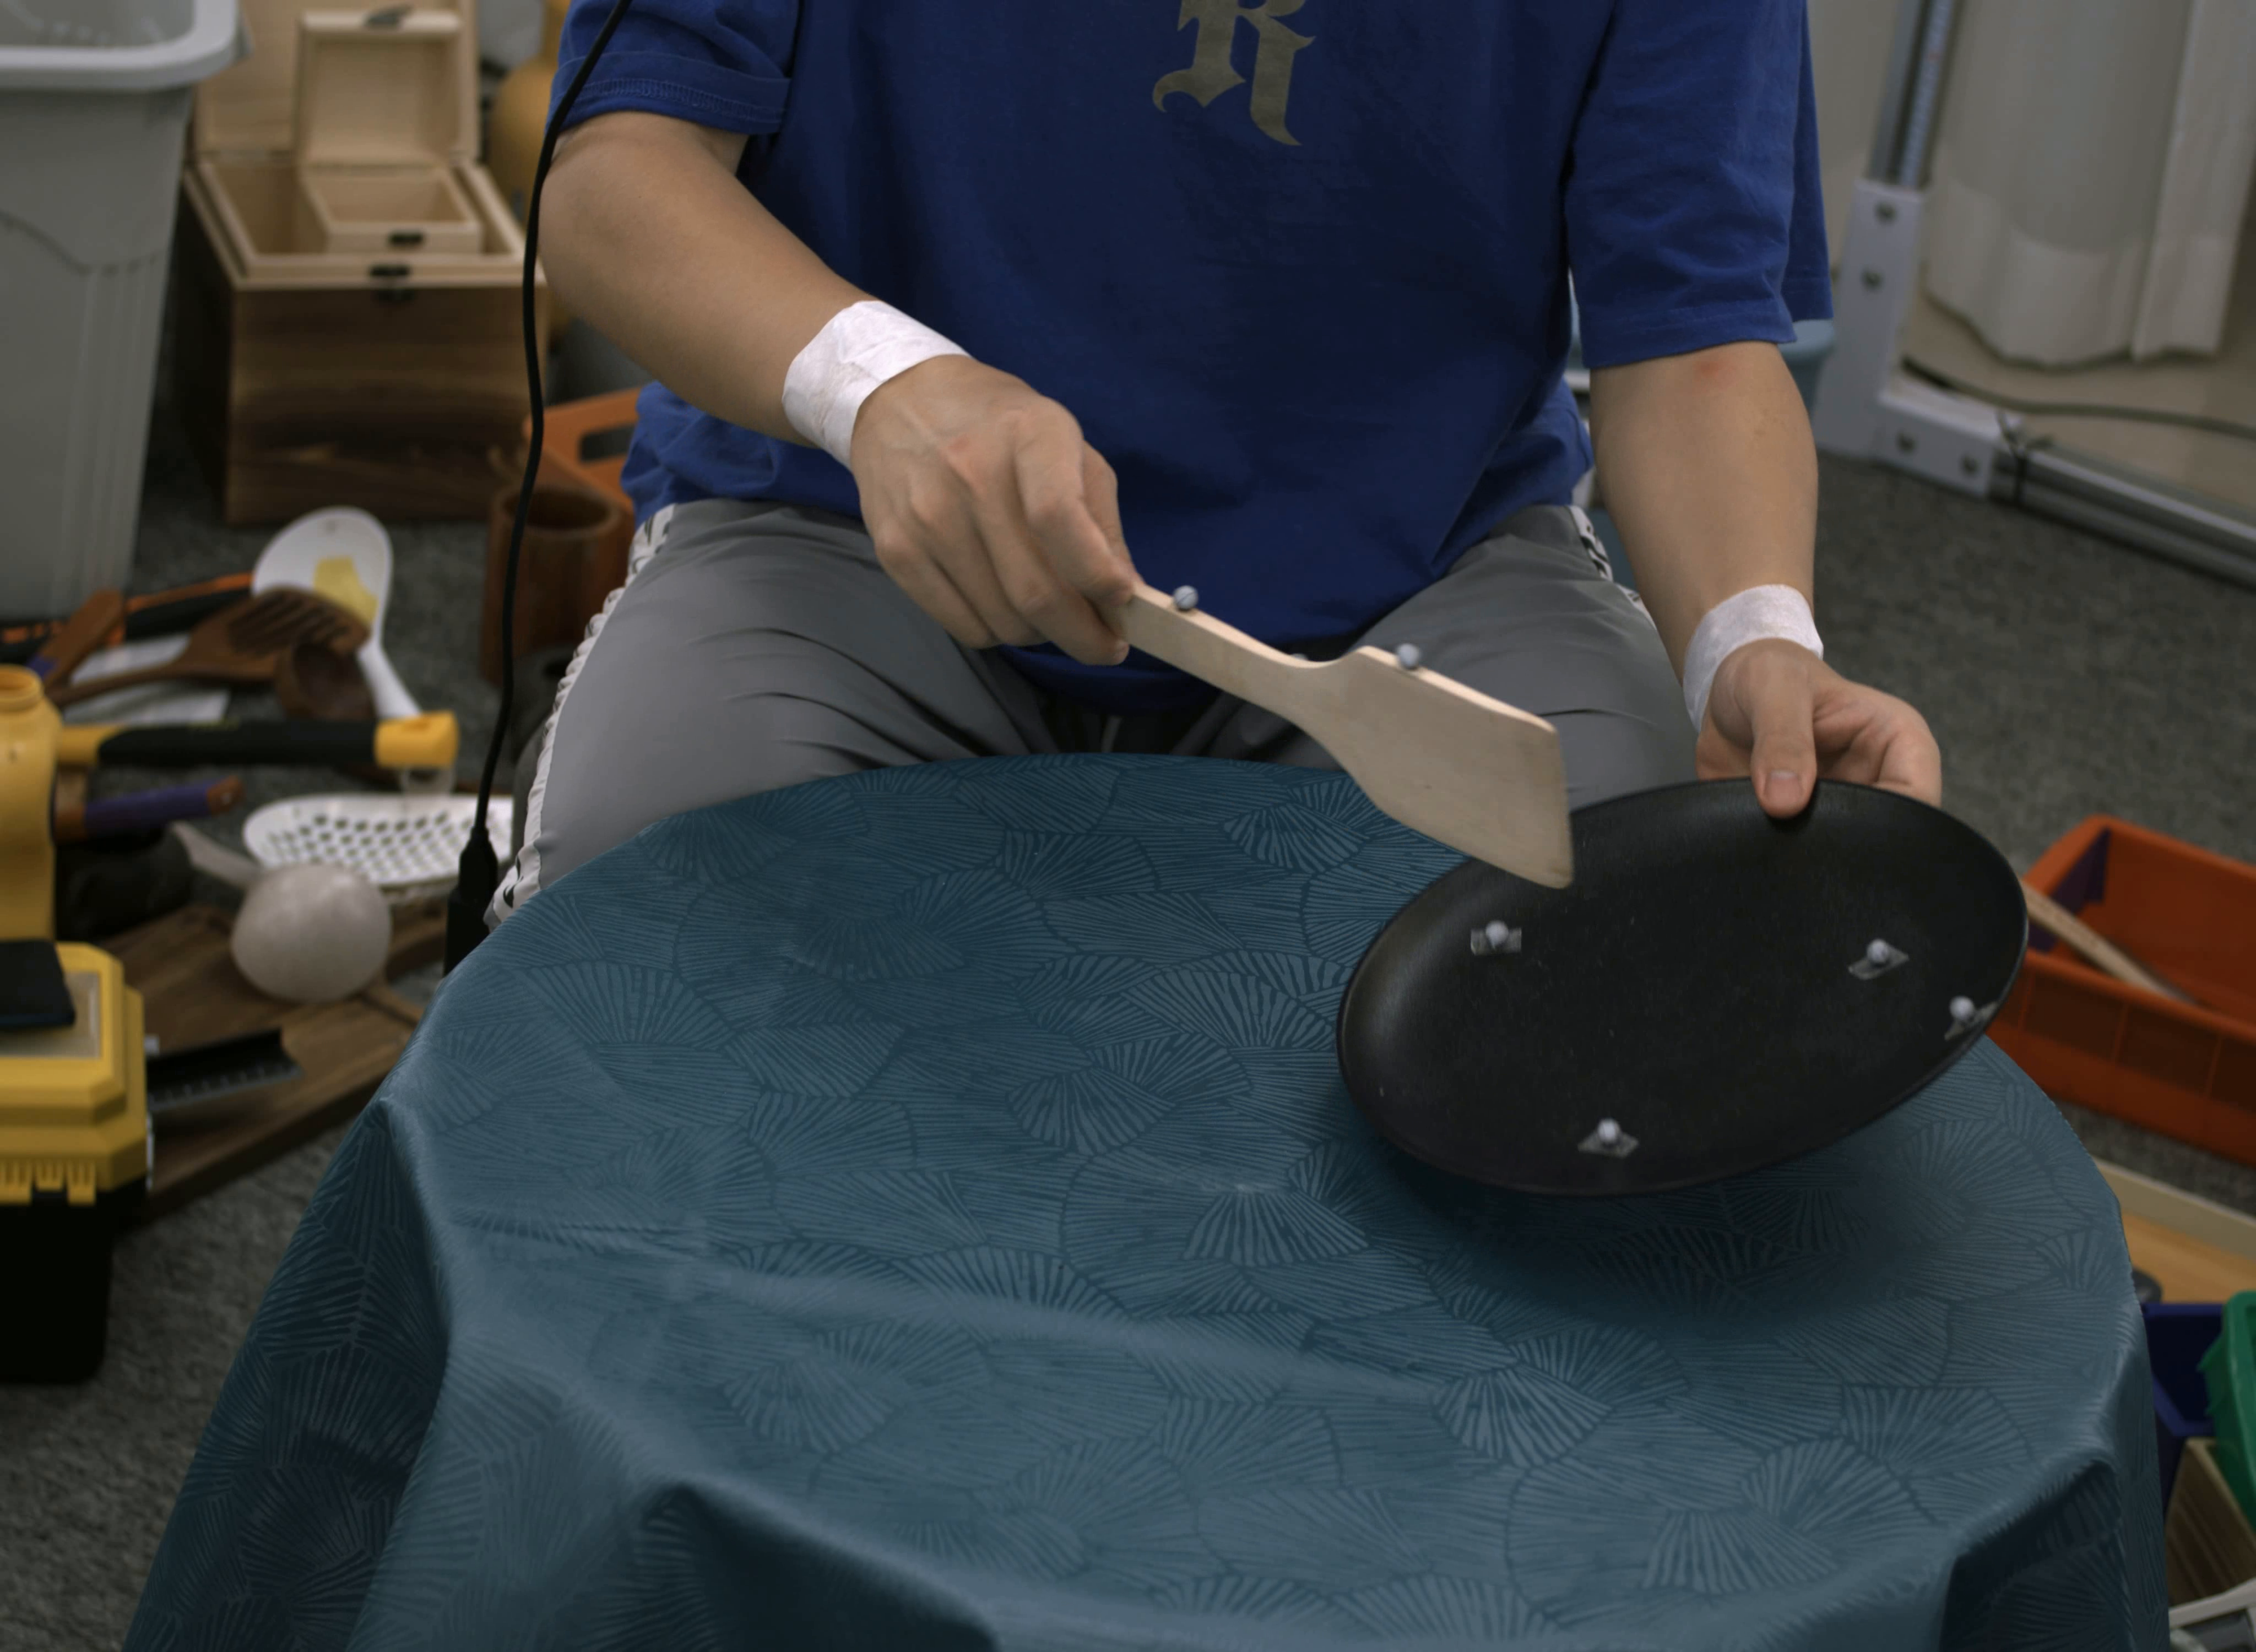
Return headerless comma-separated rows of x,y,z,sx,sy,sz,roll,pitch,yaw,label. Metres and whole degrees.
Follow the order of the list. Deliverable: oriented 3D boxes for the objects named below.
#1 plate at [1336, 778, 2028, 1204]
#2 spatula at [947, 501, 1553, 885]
0.191,0.060,1.838,0.244,0.023,0.246,-13,31,8,plate
0.035,-0.058,1.837,0.010,0.072,0.295,-35,43,-28,spatula
